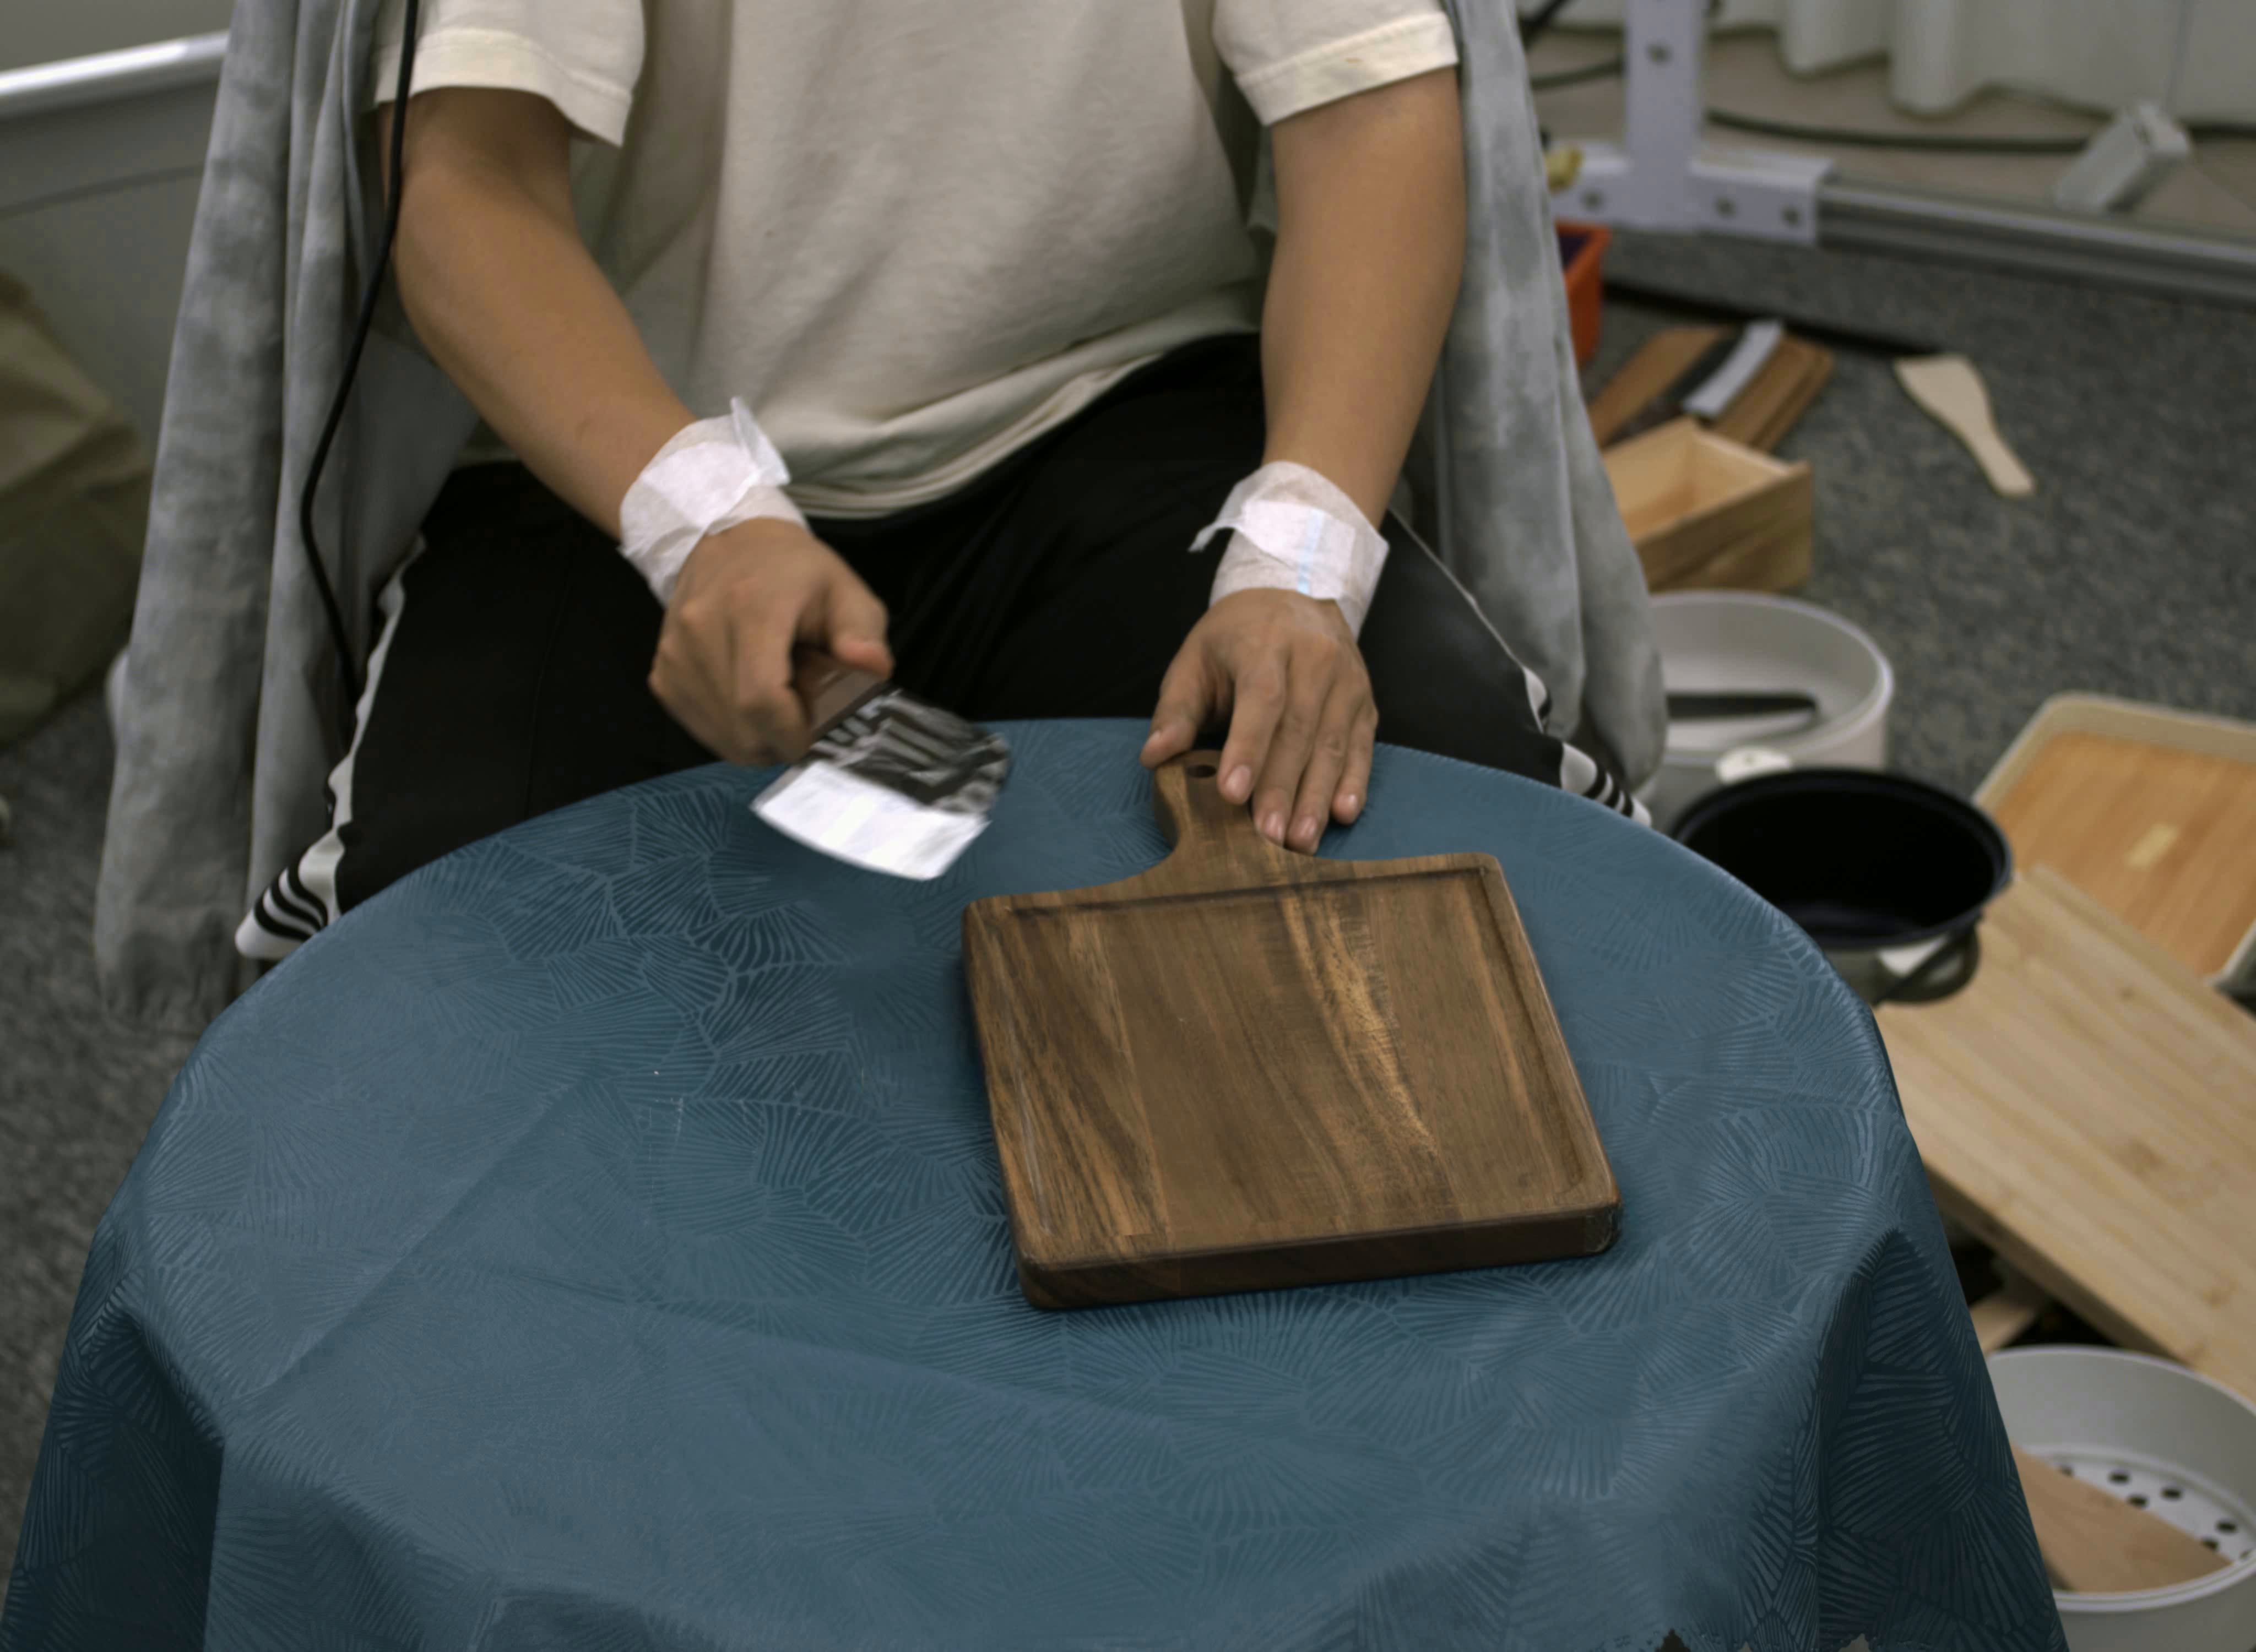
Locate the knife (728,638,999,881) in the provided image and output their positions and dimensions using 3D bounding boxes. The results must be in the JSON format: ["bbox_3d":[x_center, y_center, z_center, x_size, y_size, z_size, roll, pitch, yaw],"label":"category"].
[{"bbox_3d":[-0.101,-0.023,1.971,0.068,0.024,0.299,-40,21,-9],"label":"knife"}]

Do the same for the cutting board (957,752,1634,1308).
[{"bbox_3d":[0.045,0.059,1.954,0.200,0.023,0.357,-5,27,-5],"label":"cutting board"}]
